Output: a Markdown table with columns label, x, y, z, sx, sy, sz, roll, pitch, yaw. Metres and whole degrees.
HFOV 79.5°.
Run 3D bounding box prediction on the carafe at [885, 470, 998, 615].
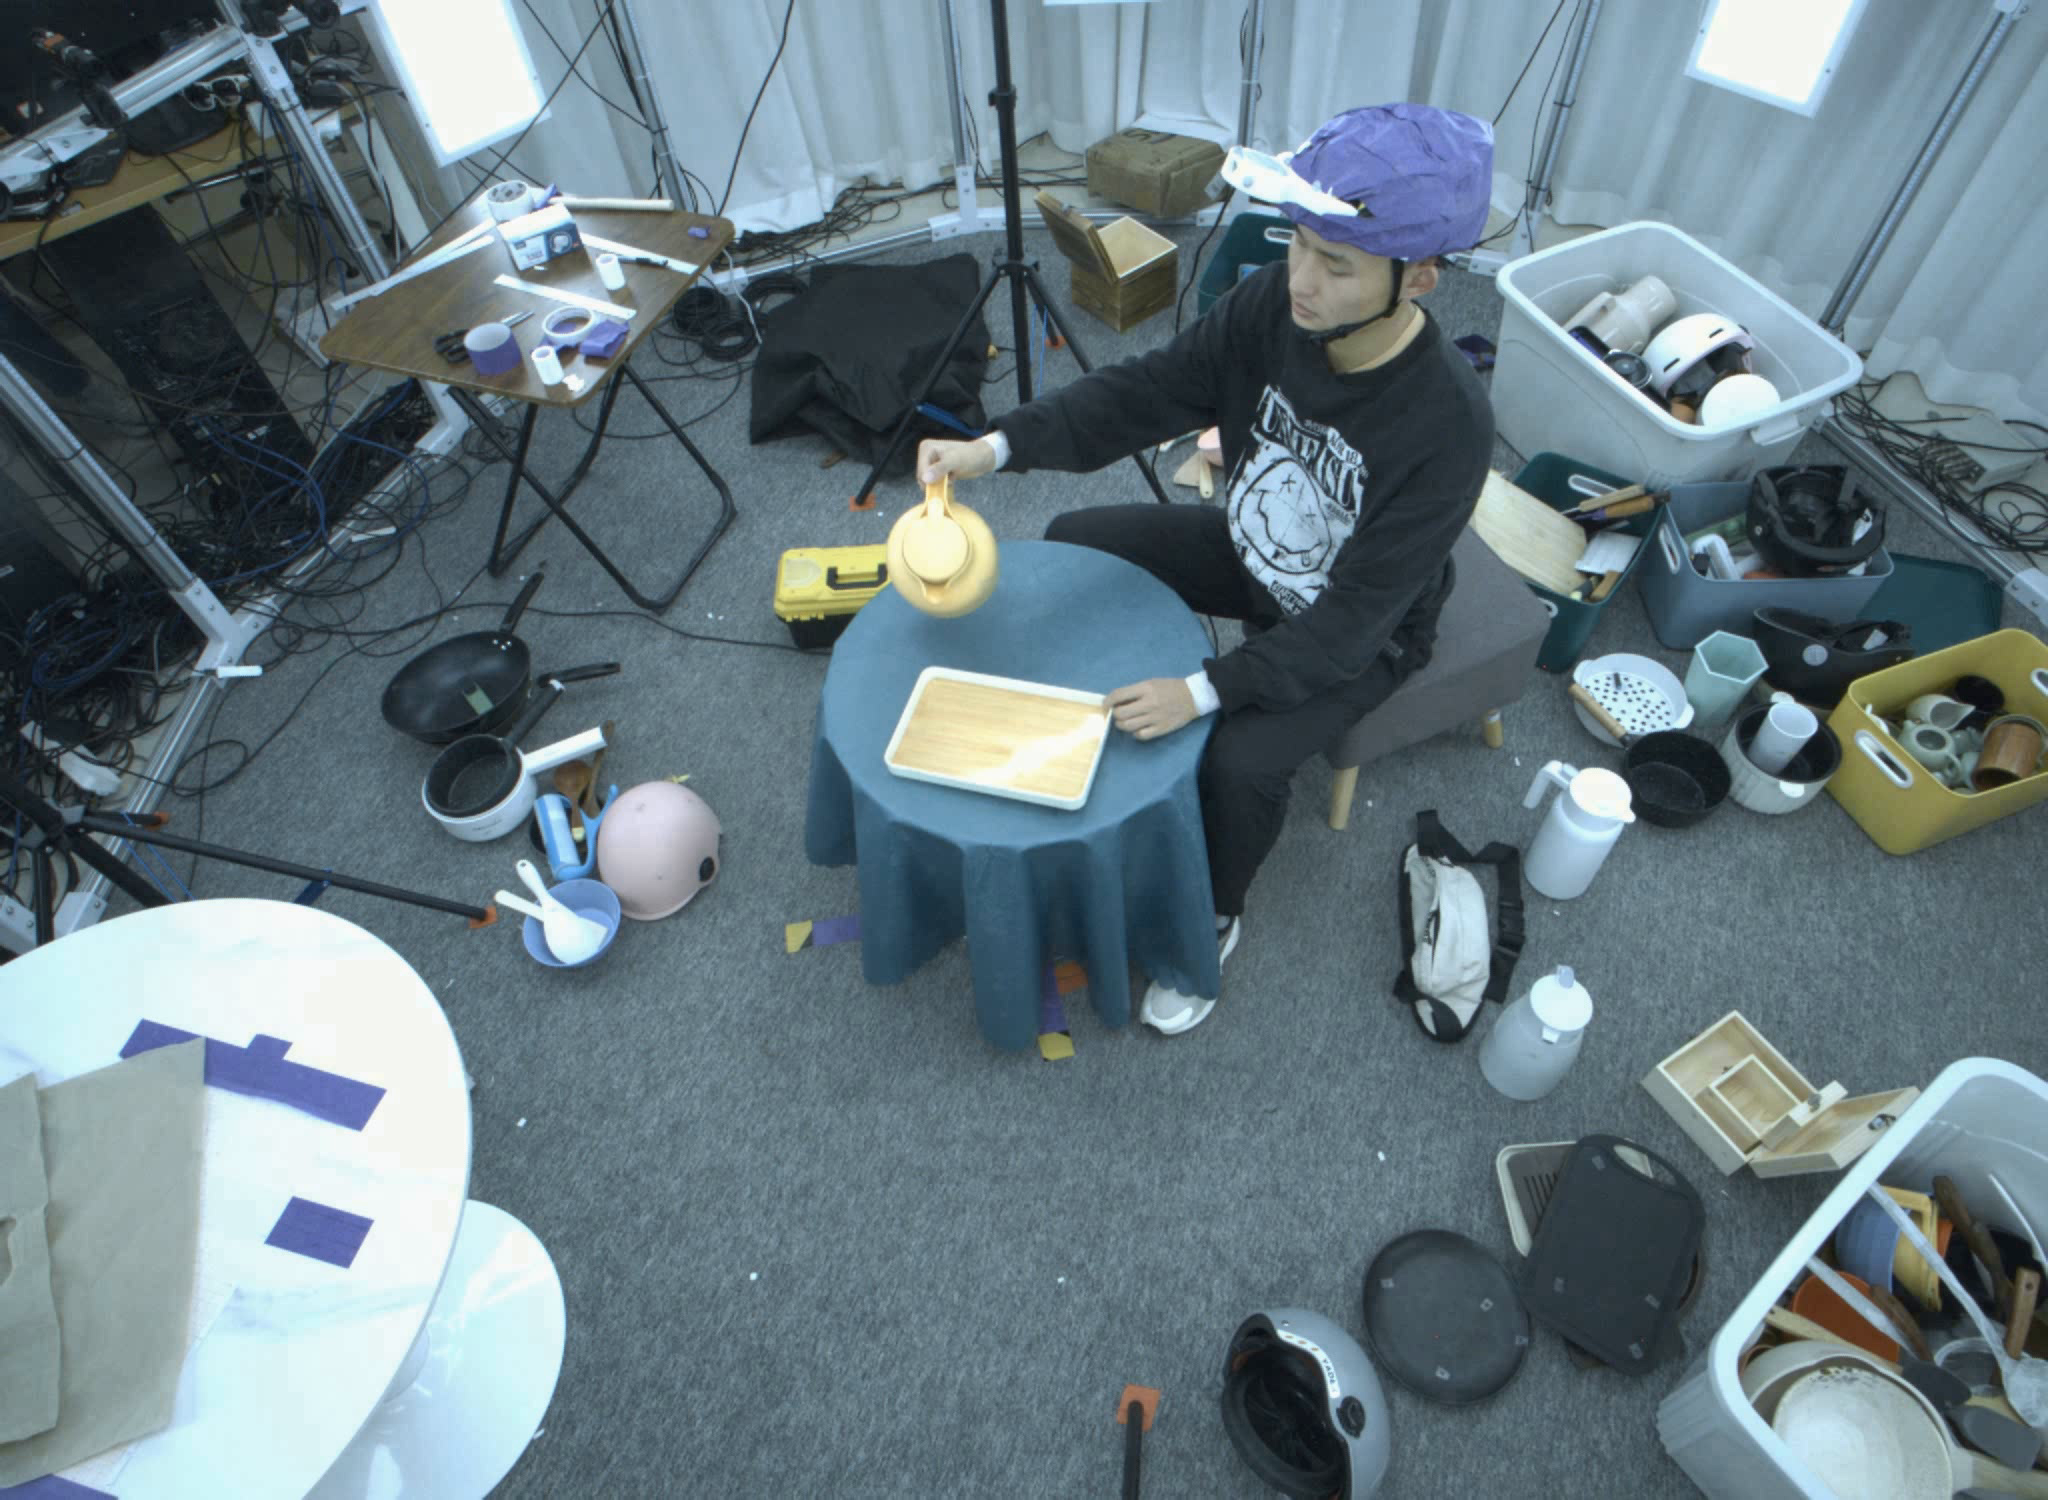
| label | x | y | z | sx | sy | sz | roll | pitch | yaw |
| --- | --- | --- | --- | --- | --- | --- | --- | --- | --- |
| carafe | -0.117 | -0.296 | 1.755 | 0.164 | 0.259 | 0.202 | 2 | 96 | -3 |

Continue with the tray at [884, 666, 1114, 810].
| label | x | y | z | sx | sy | sz | roll | pitch | yaw |
| --- | --- | --- | --- | --- | --- | --- | --- | --- | --- |
| tray | -0.034 | -0.021 | 1.774 | 0.297 | 0.028 | 0.191 | 11 | 57 | 13 |
